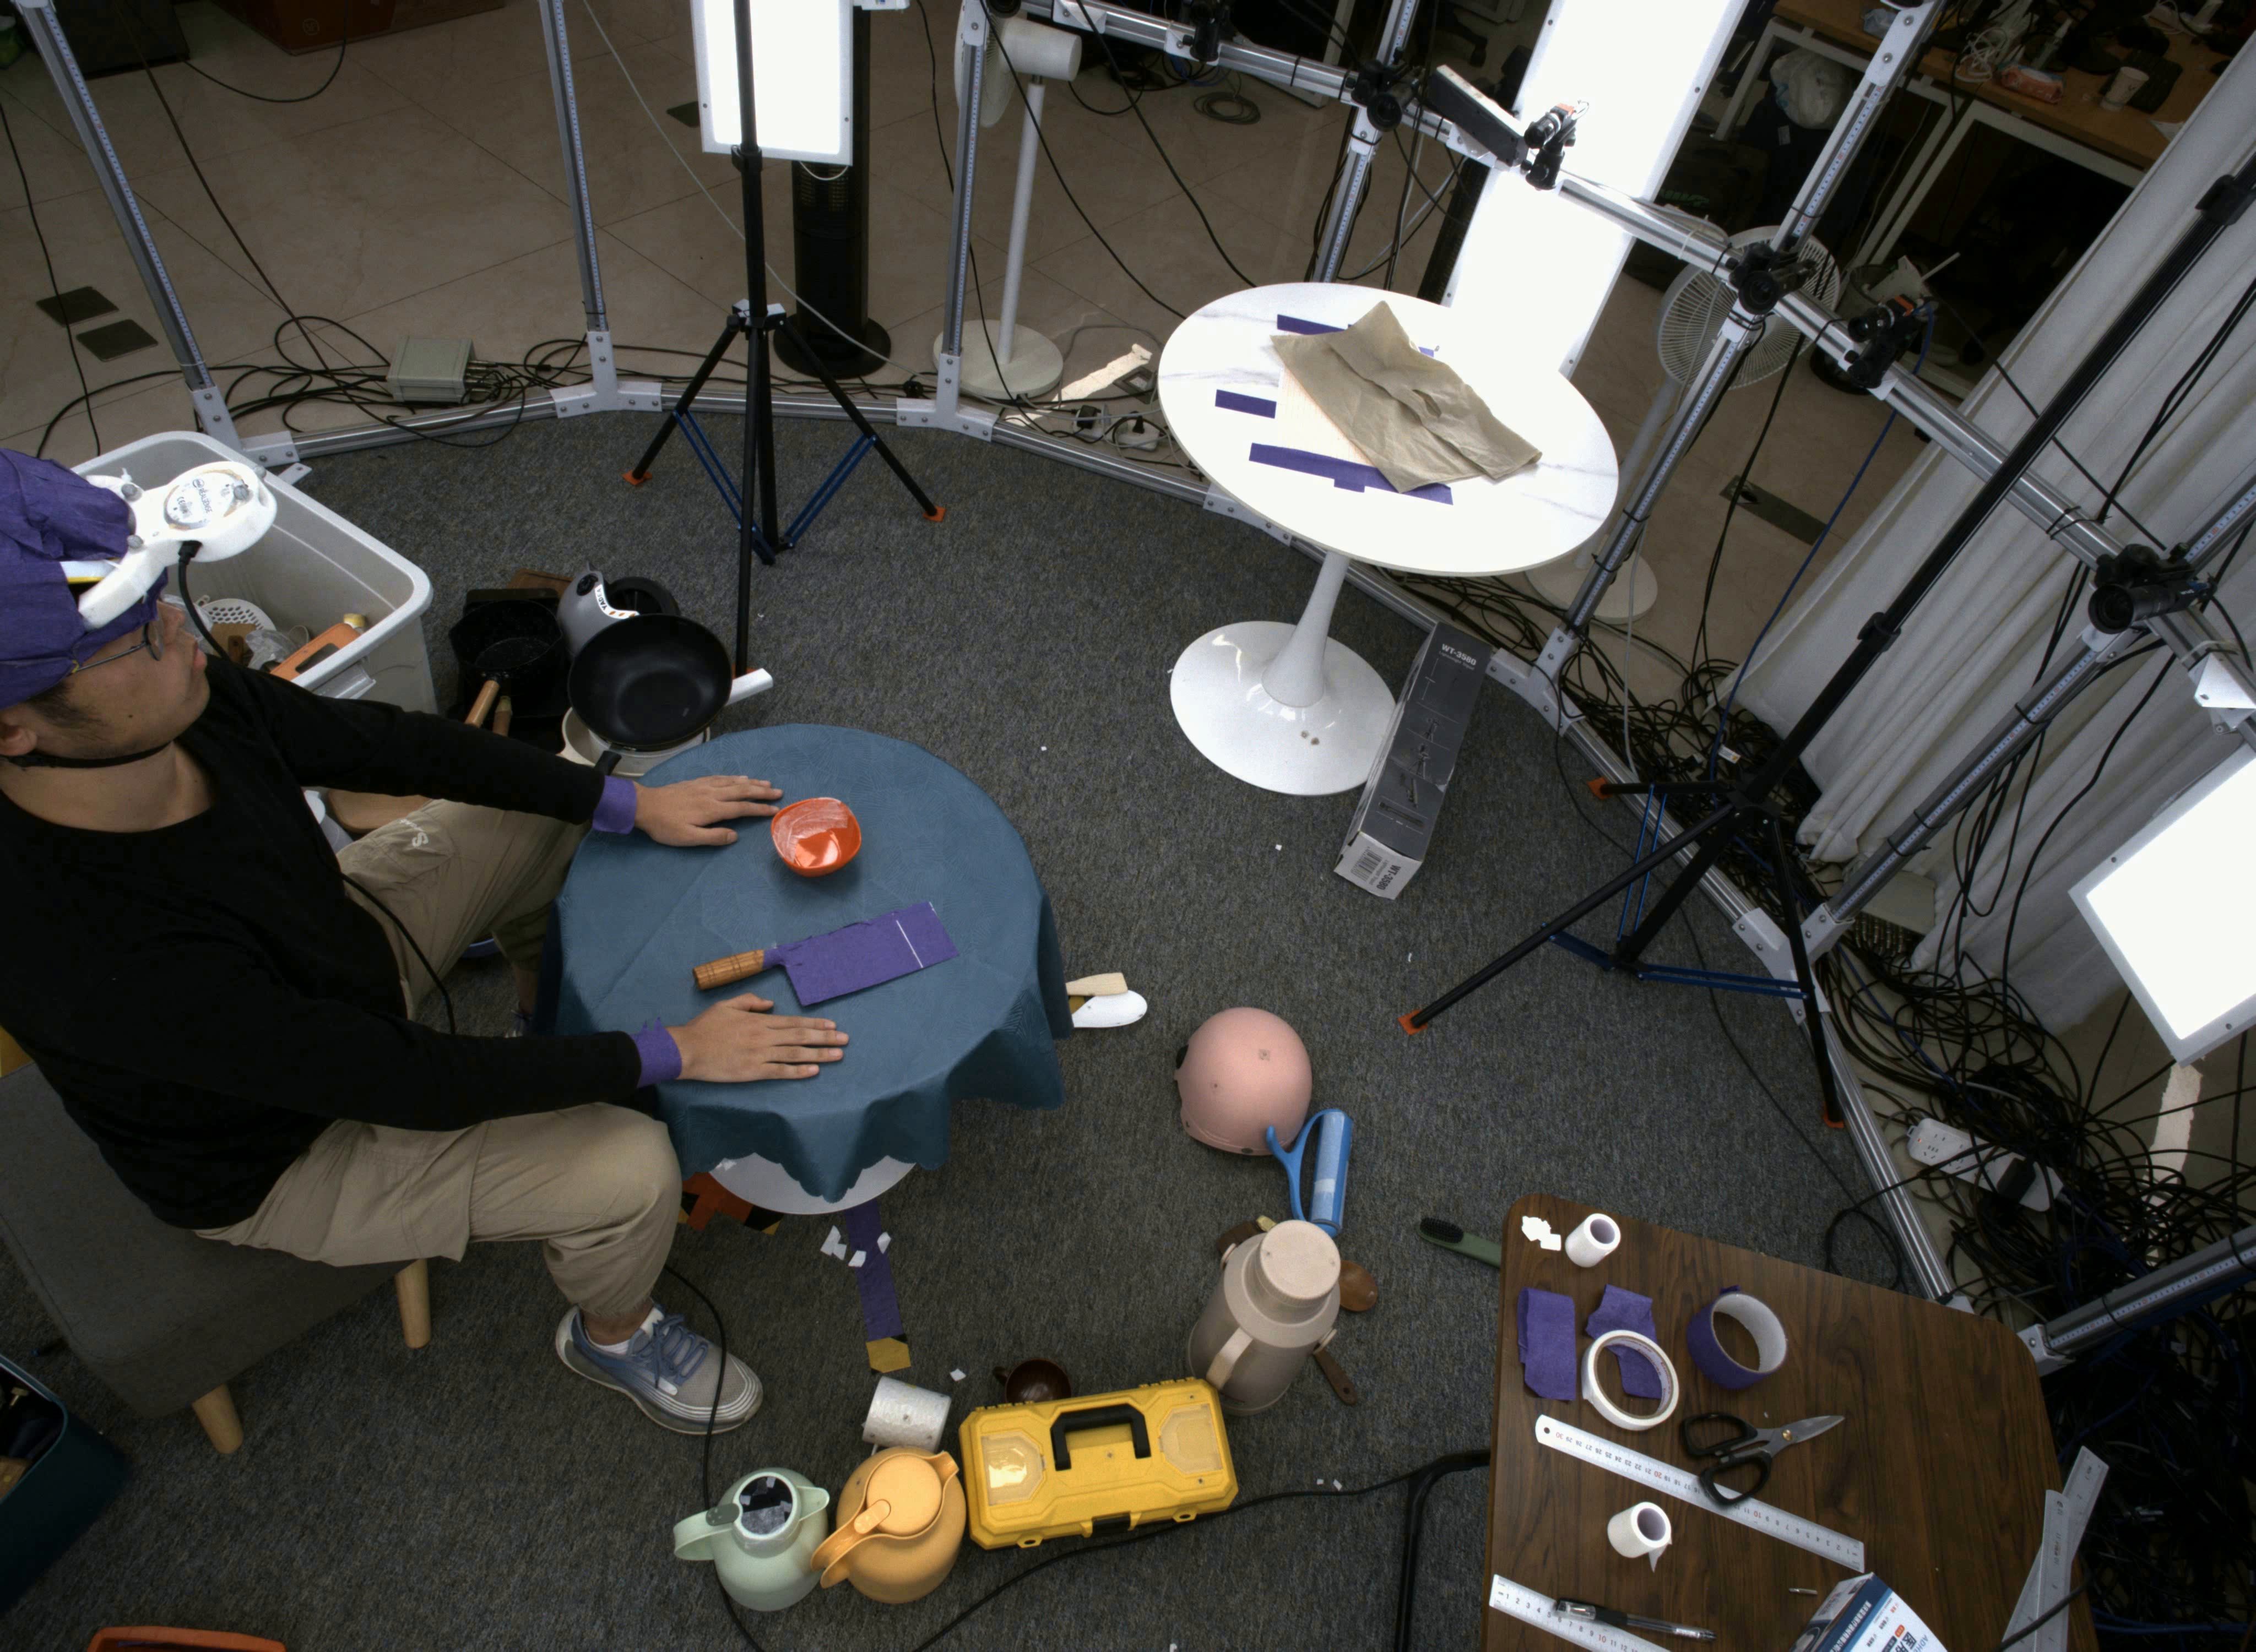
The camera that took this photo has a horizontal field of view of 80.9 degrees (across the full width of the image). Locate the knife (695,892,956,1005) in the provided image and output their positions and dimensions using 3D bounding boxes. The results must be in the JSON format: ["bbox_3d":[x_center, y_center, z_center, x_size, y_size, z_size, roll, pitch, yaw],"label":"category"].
[{"bbox_3d":[-0.366,0.164,1.597,0.317,0.033,0.101,-19,60,-27],"label":"knife"}]

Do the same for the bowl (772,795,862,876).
[{"bbox_3d":[-0.403,0.019,1.676,0.119,0.052,0.117,10,51,-11],"label":"bowl"}]
